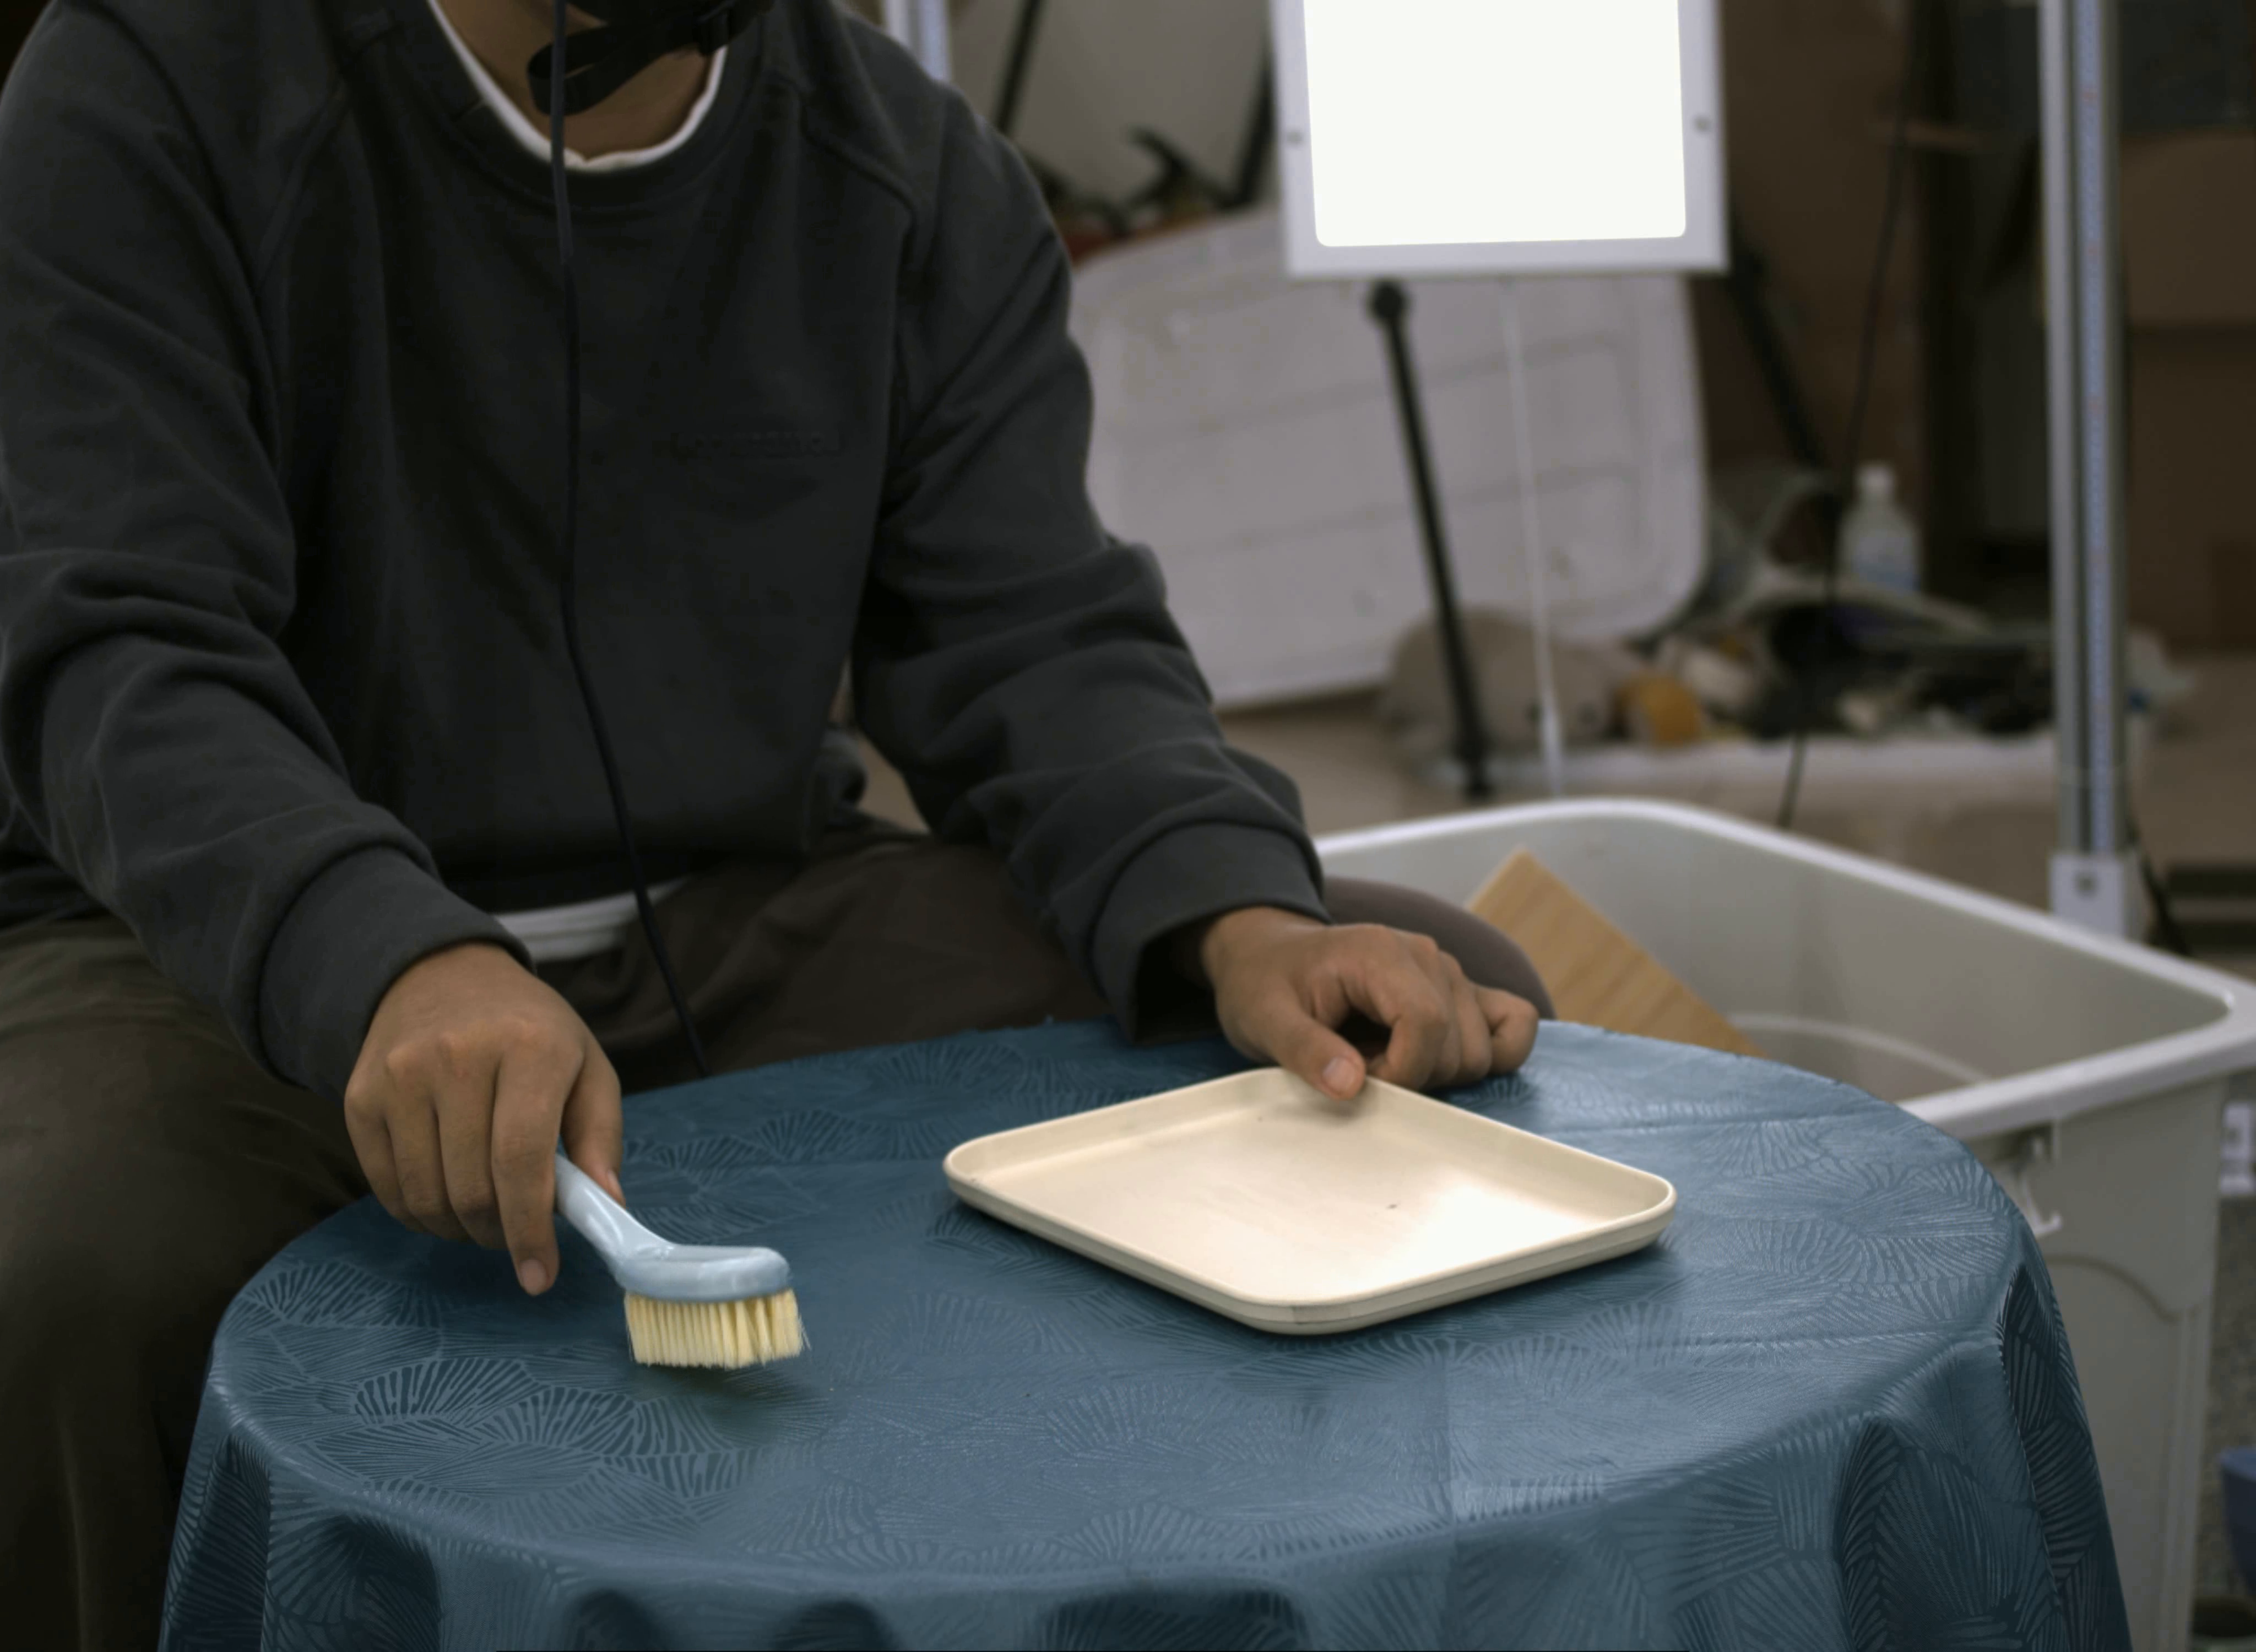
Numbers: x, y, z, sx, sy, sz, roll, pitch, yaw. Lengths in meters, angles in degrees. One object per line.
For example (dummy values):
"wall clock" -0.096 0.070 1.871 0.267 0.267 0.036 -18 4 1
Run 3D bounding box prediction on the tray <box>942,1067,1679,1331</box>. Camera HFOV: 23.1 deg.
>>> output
"tray" 0.059 0.124 1.848 0.167 0.017 0.244 -12 15 -29

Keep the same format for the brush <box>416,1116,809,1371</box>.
"brush" -0.173 0.137 1.800 0.037 0.050 0.233 -9 16 -33
